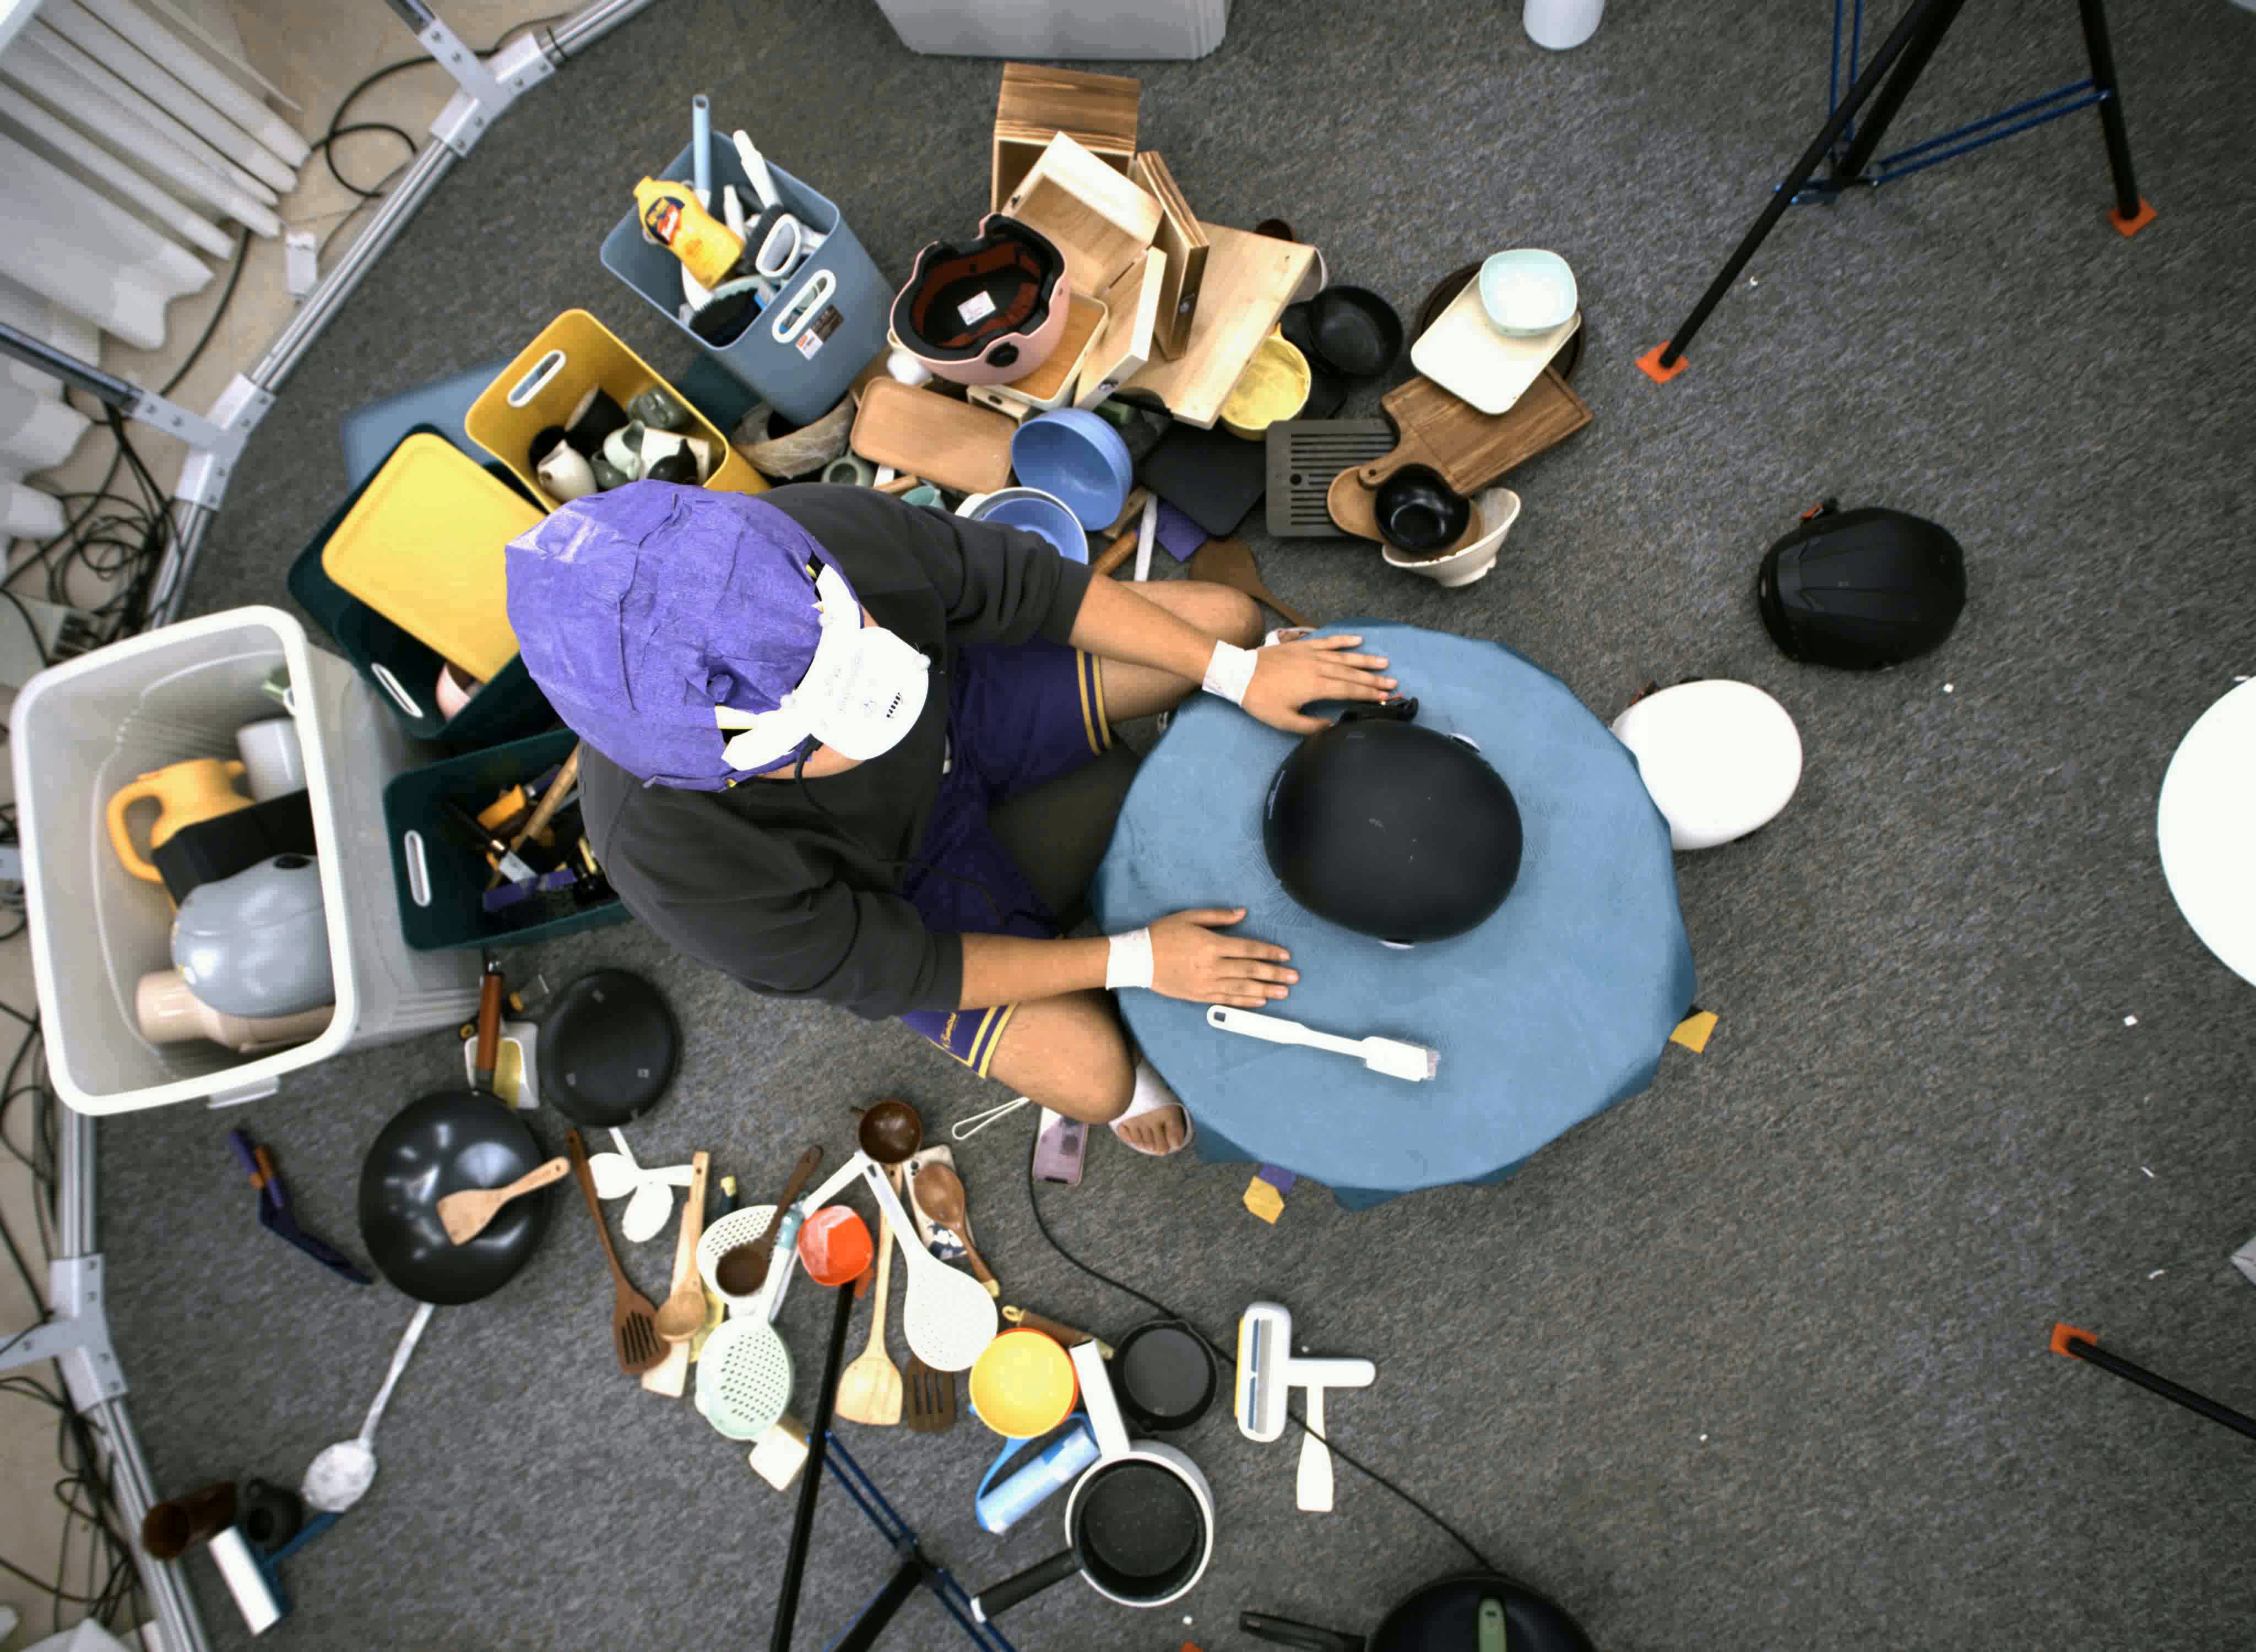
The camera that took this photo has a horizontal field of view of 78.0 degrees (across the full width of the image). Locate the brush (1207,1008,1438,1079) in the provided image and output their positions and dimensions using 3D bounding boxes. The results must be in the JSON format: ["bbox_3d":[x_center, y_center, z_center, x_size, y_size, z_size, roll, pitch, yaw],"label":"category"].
[{"bbox_3d":[0.202,0.223,1.452,0.244,0.050,0.034,9,90,24],"label":"brush"}]

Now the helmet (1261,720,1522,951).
[{"bbox_3d":[0.267,0.004,1.384,0.273,0.166,0.230,21,92,9],"label":"helmet"}]
